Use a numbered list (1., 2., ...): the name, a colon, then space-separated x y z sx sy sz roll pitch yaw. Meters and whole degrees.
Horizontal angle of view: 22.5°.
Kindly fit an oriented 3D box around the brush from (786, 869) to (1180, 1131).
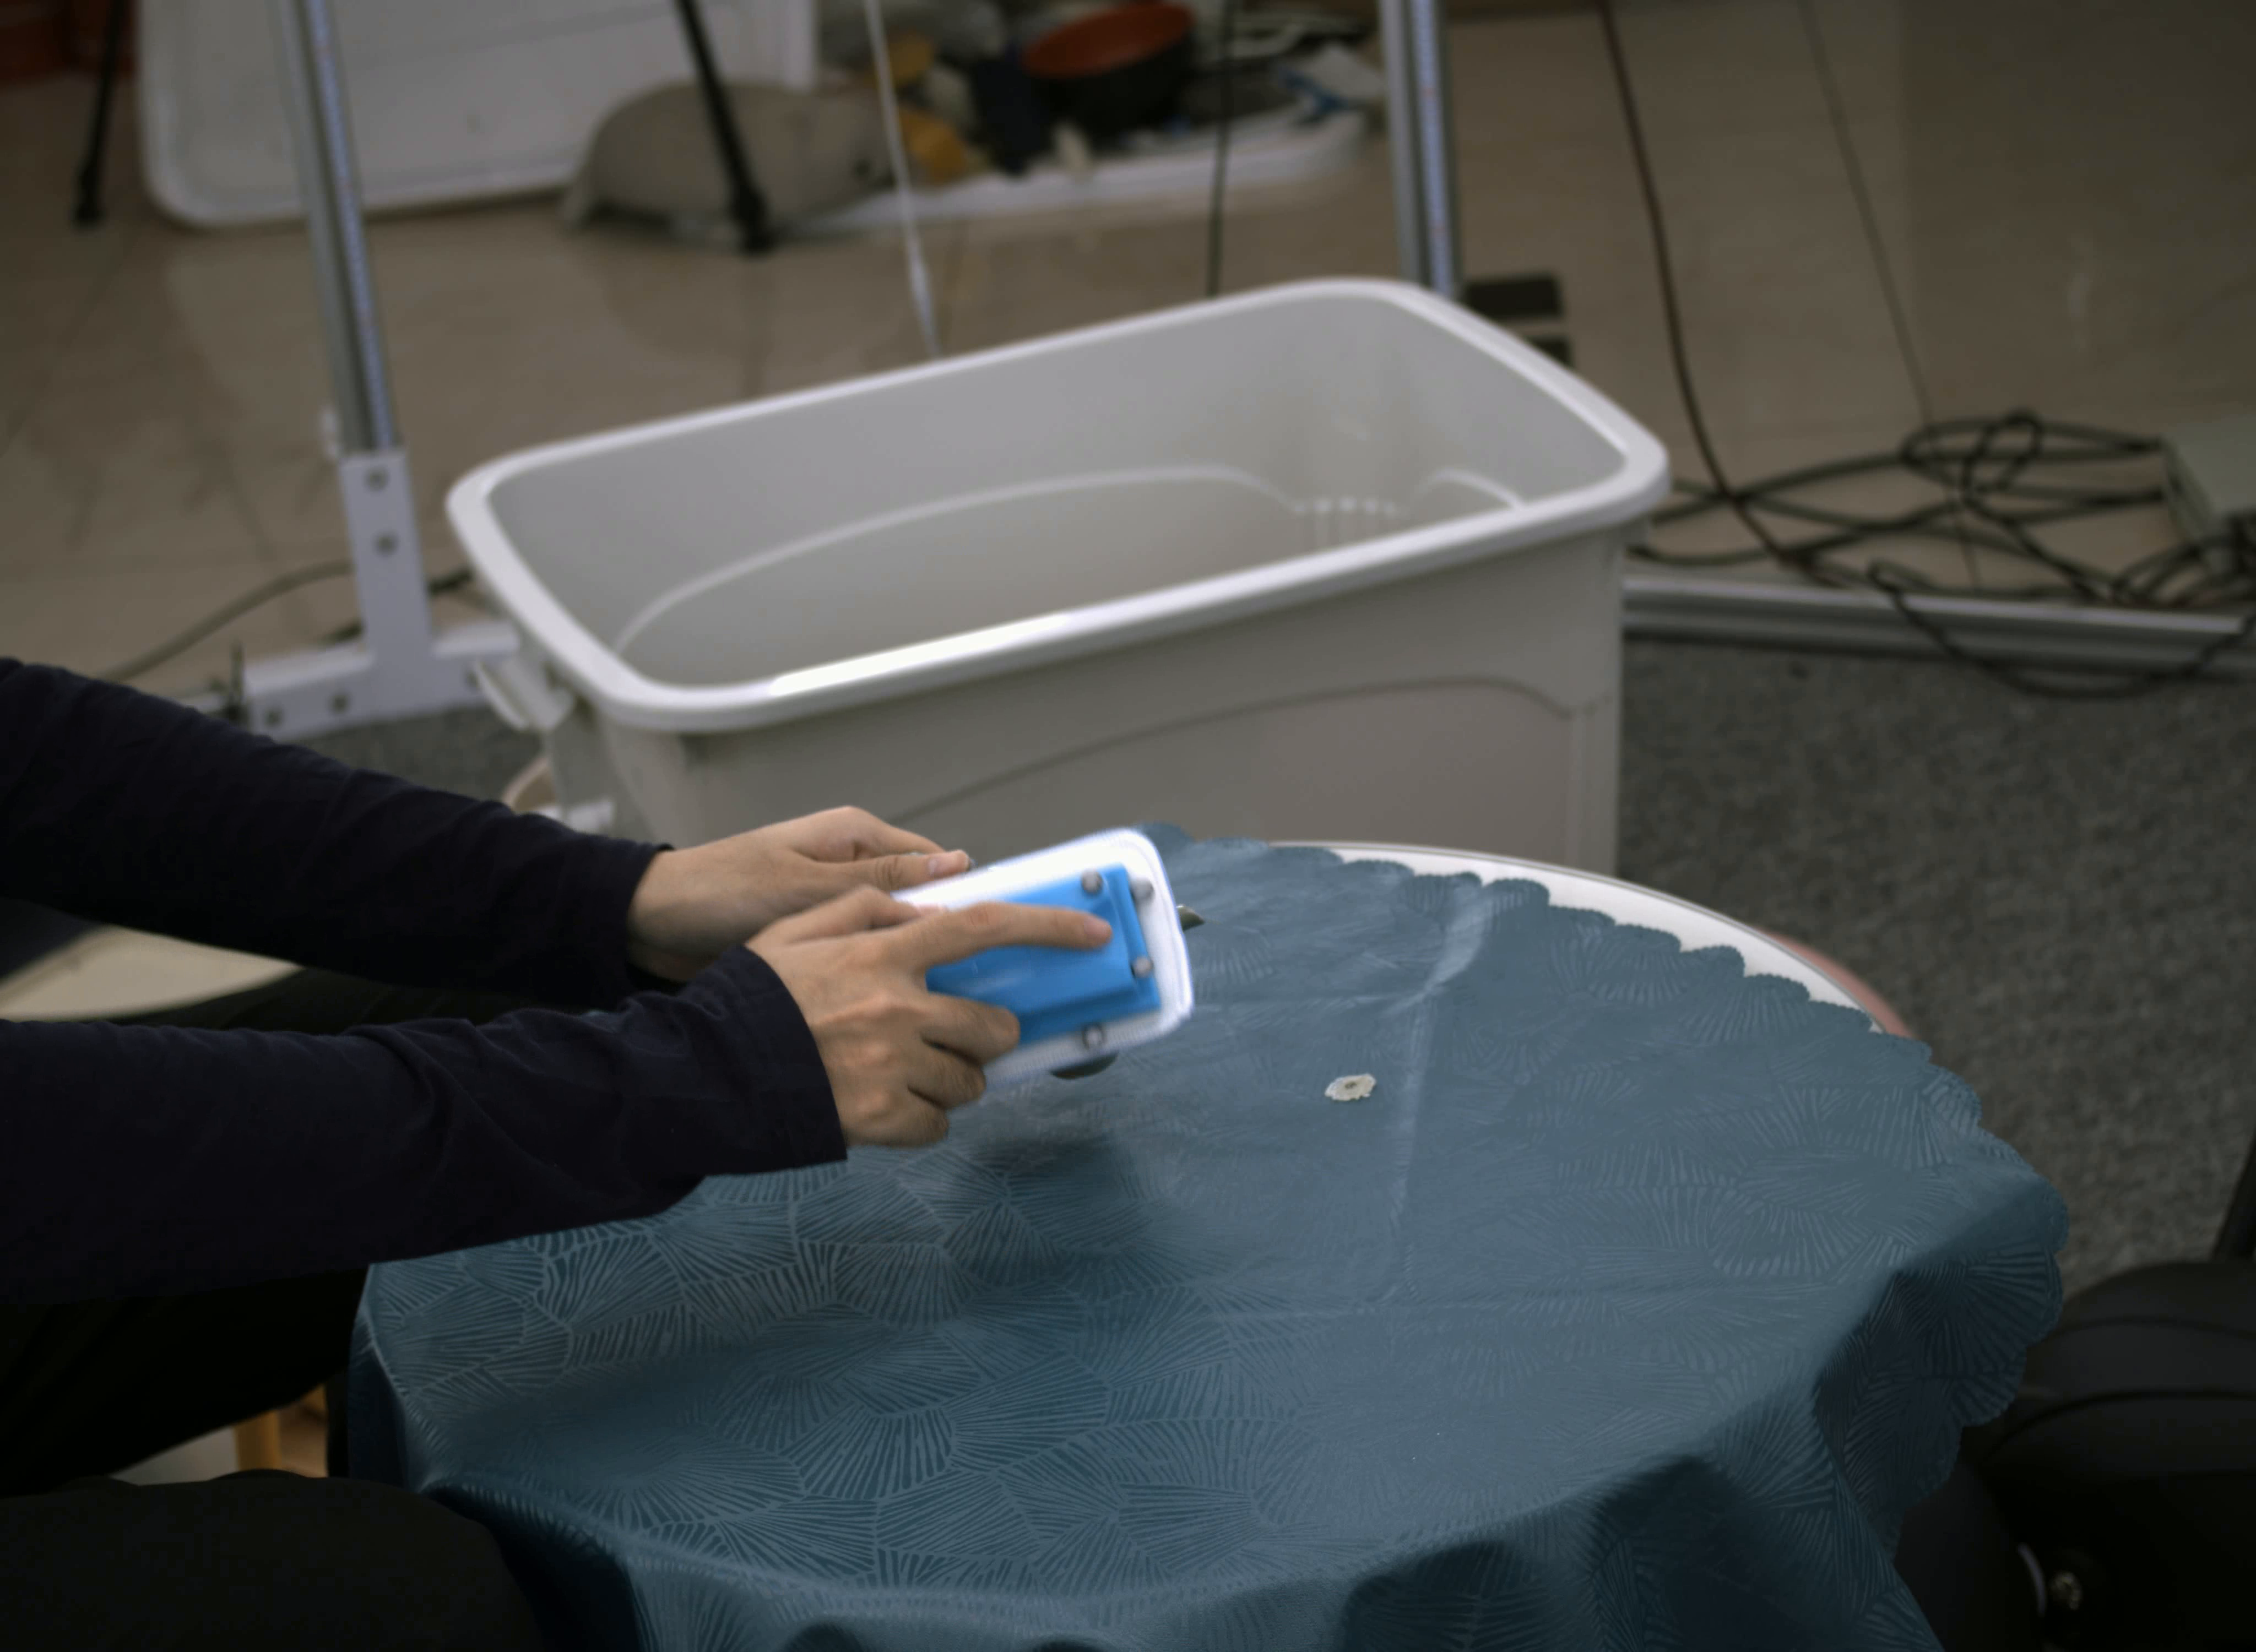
1. brush: -0.056 0.058 2.082 0.144 0.083 0.056 -11 -16 2

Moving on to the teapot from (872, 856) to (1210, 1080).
1. teapot: -0.038 0.055 2.192 0.132 0.075 0.080 8 -10 8
